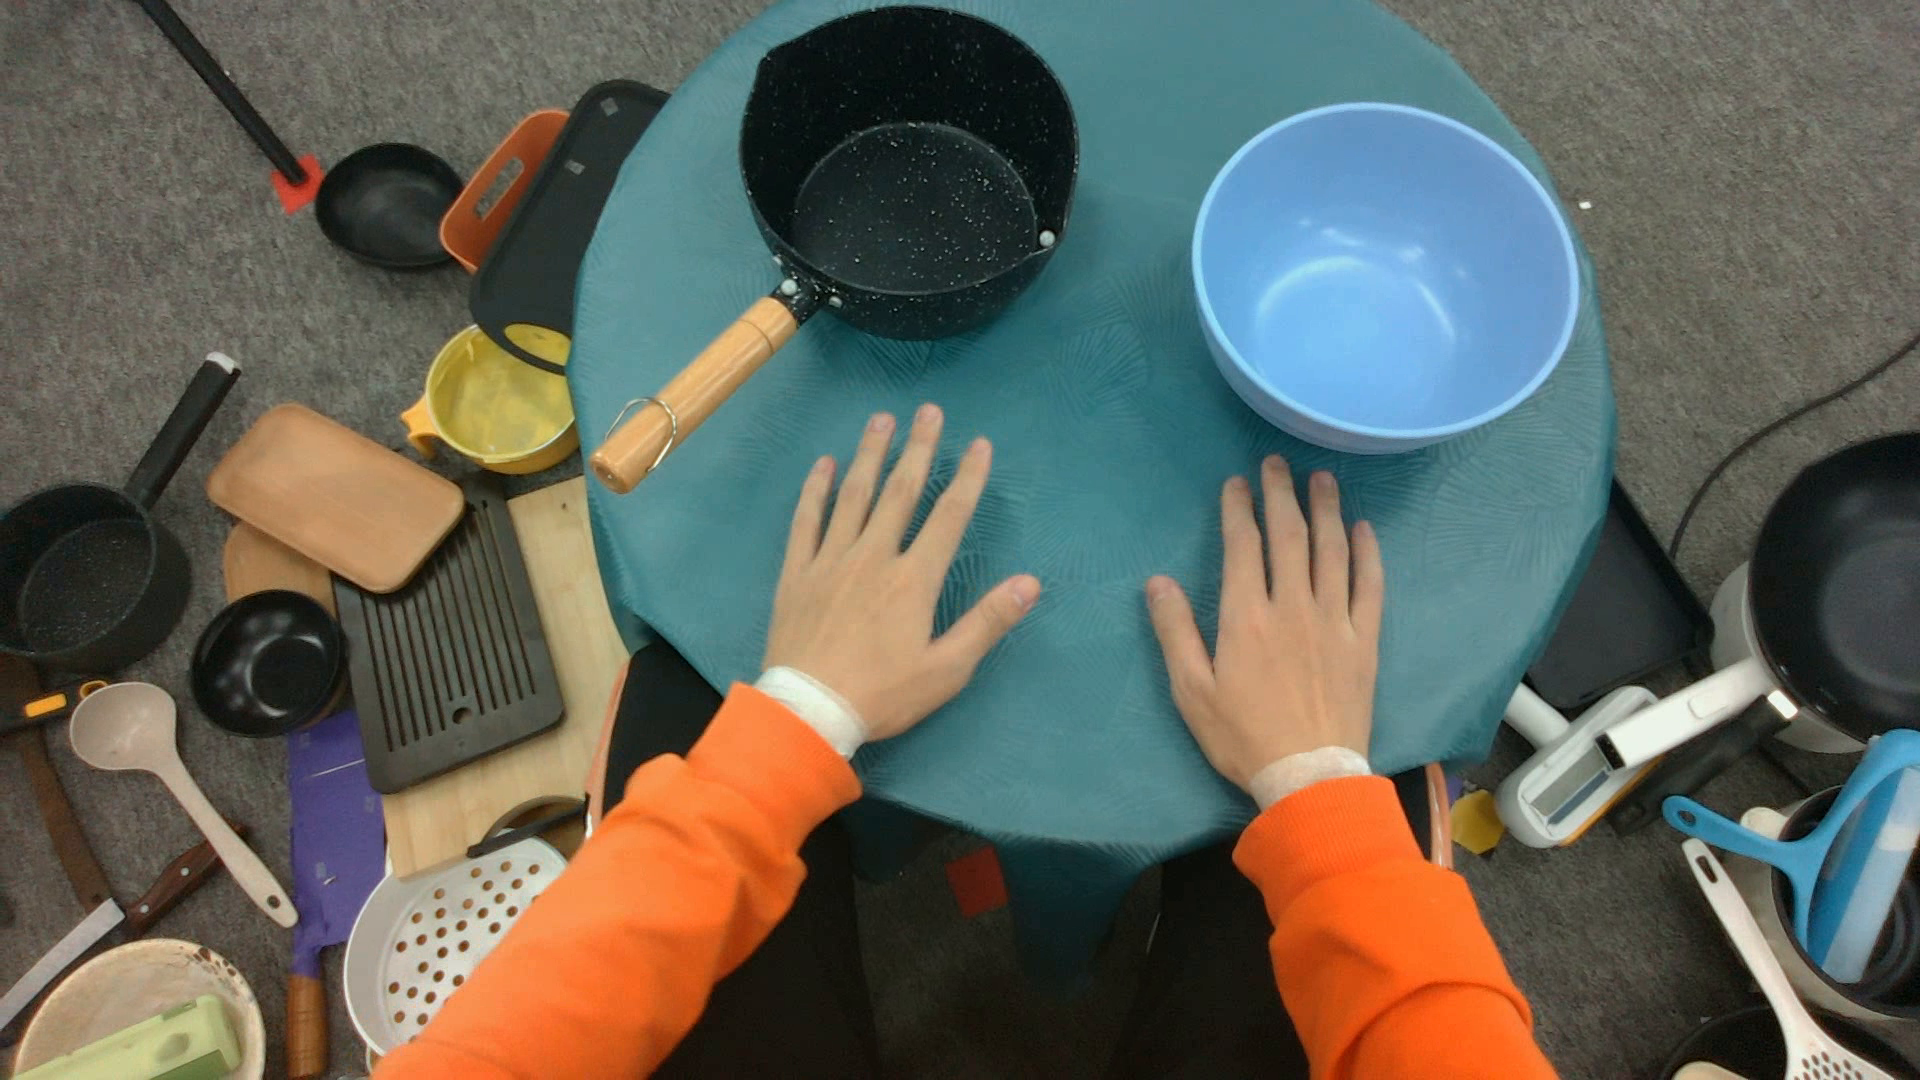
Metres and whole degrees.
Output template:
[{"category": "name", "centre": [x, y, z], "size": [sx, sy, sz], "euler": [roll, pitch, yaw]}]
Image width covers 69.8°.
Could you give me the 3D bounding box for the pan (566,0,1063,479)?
[{"category": "pan", "centre": [-0.082, -0.148, 0.748], "size": [0.207, 0.108, 0.344], "euler": [33, 71, 9]}]

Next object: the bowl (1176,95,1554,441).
[{"category": "bowl", "centre": [0.209, -0.133, 0.754], "size": [0.196, 0.095, 0.197], "euler": [1, 69, -2]}]
